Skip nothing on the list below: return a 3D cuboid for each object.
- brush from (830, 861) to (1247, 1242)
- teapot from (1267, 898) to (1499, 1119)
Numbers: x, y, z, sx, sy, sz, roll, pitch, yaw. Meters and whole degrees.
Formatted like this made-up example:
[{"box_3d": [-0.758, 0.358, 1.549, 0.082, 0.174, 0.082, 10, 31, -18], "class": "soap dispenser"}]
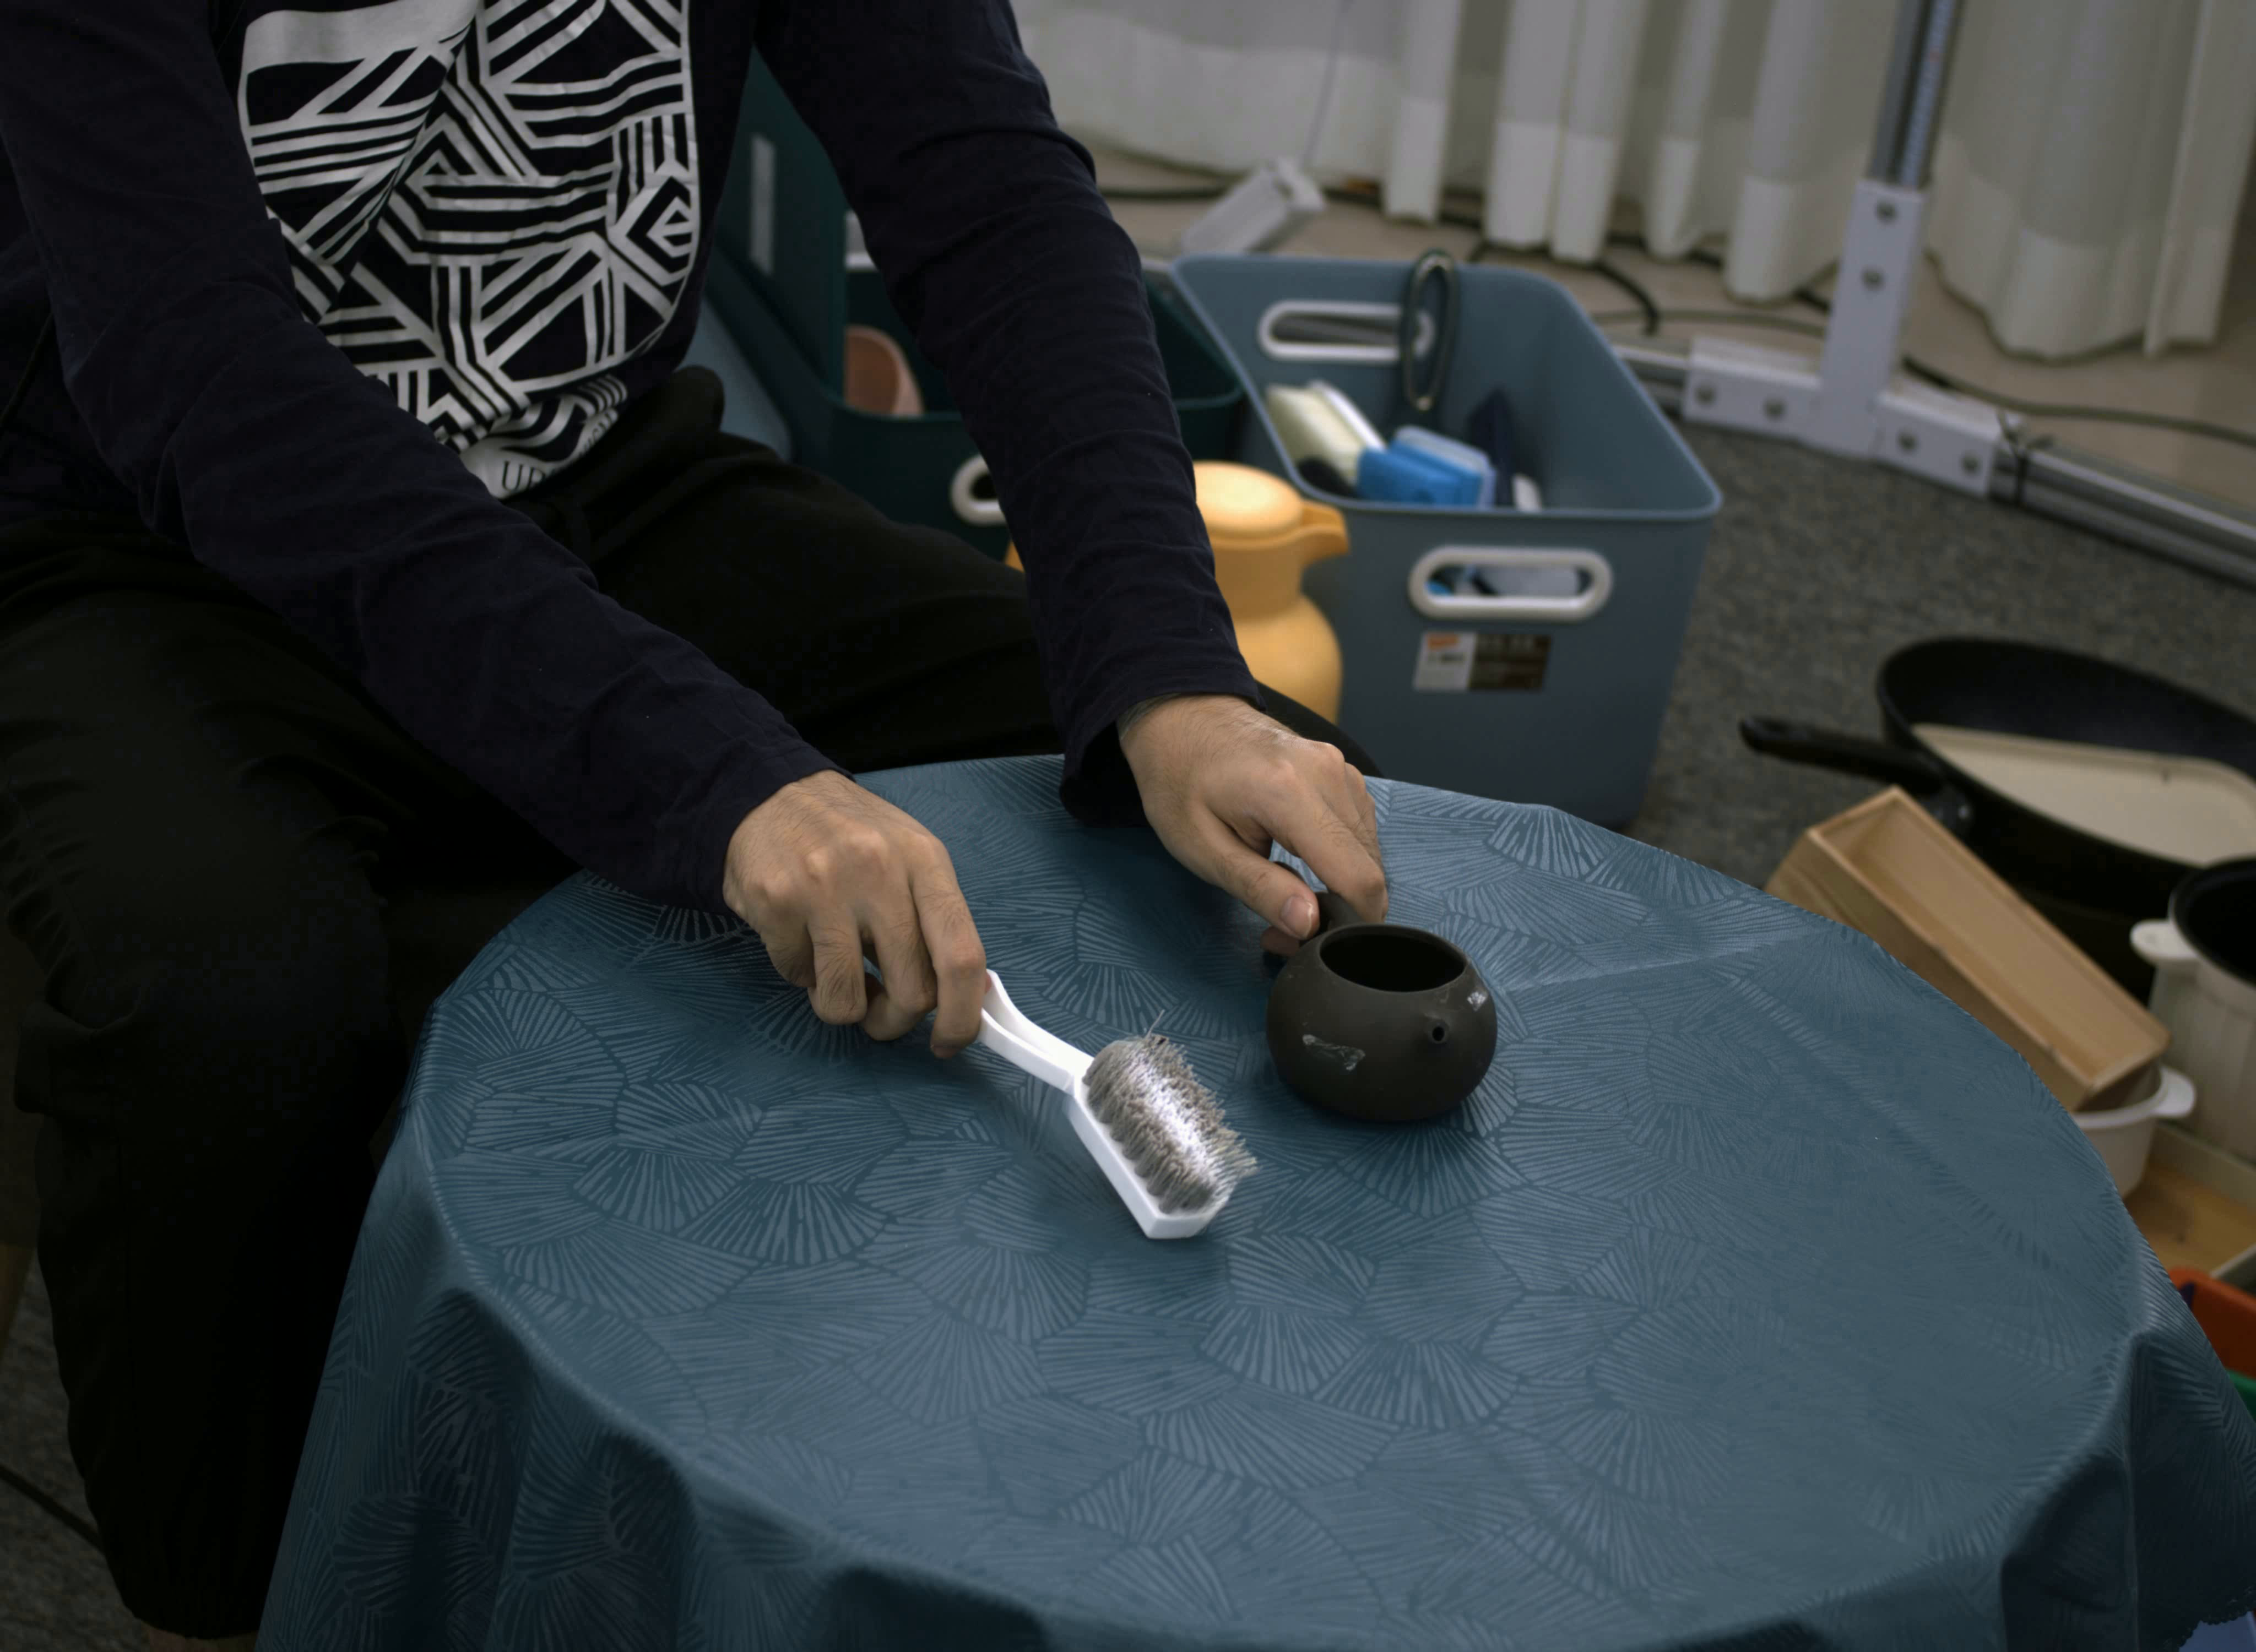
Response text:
[{"box_3d": [-0.036, 0.062, 1.846, 0.034, 0.050, 0.246, -15, 39, -29], "class": "brush"}, {"box_3d": [0.086, 0.063, 1.889, 0.082, 0.053, 0.115, -5, 29, -20], "class": "teapot"}]
